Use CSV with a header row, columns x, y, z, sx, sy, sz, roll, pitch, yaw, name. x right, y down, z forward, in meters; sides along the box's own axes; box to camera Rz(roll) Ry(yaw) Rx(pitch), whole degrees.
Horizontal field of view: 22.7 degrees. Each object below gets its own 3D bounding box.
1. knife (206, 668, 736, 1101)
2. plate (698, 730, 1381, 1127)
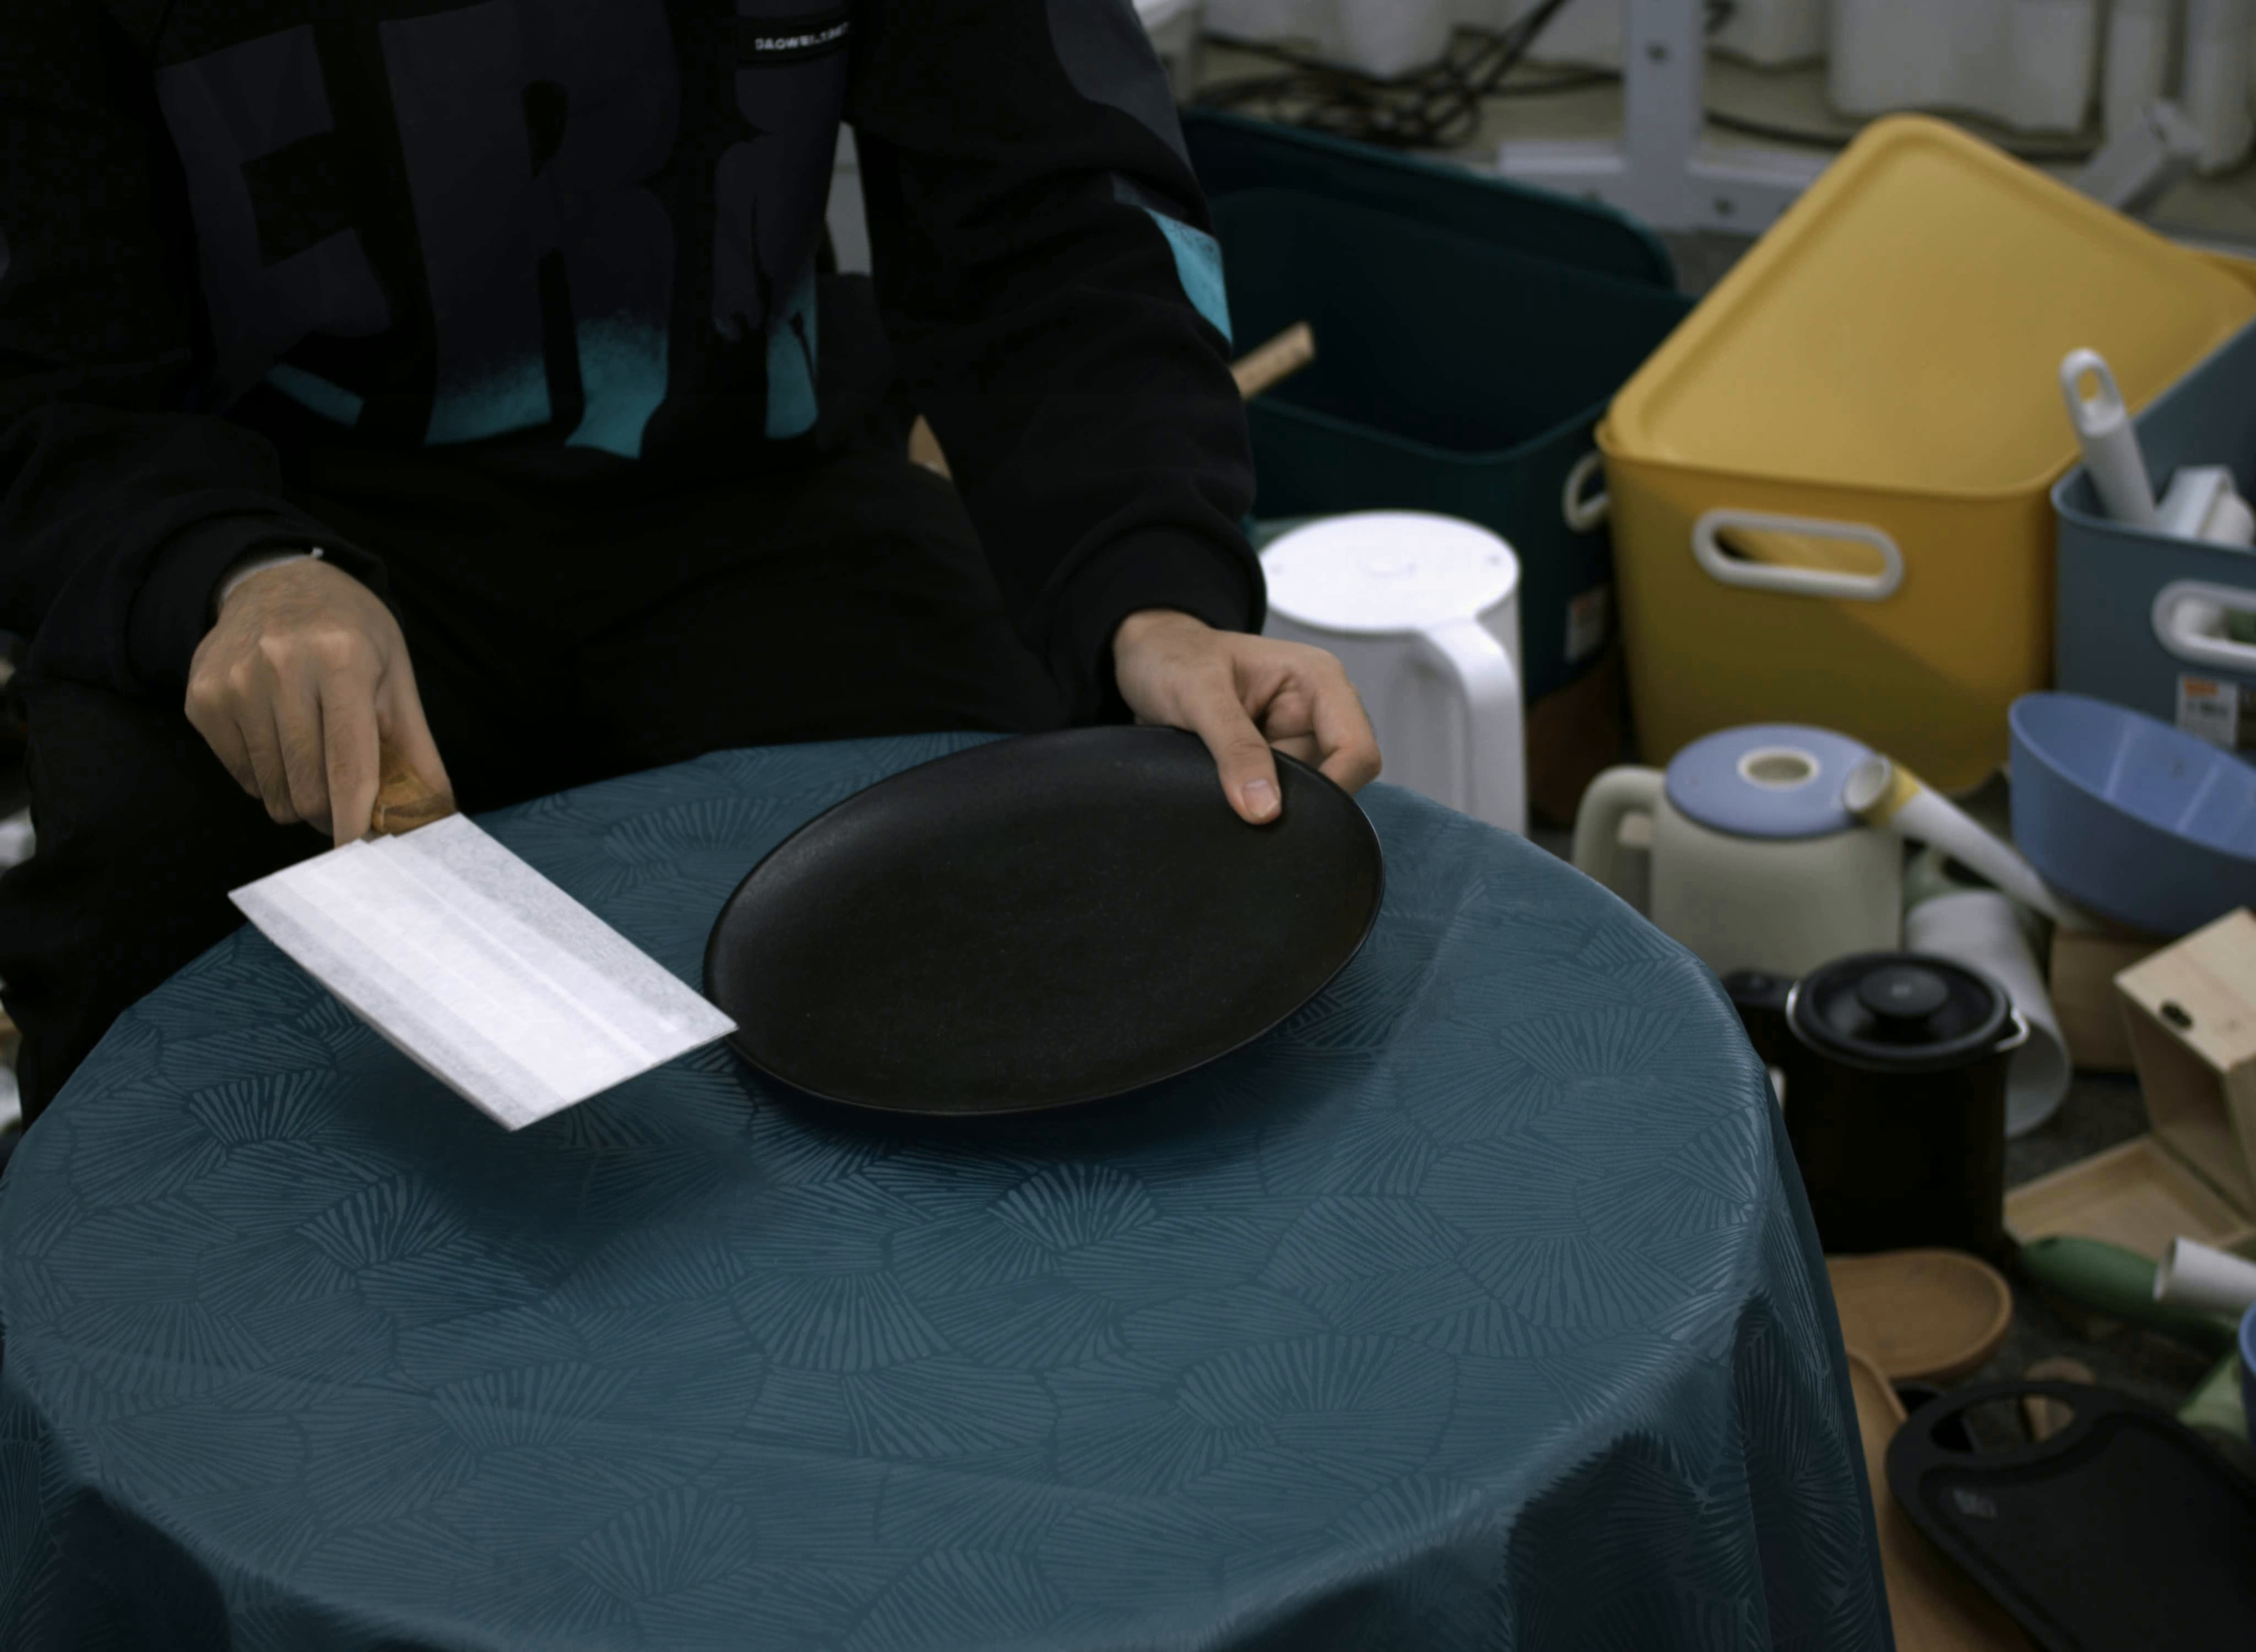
x,y,z,sx,sy,sz,roll,pitch,yaw,name
-0.253,0.021,1.942,0.094,0.021,0.306,-23,37,-30,knife
-0.030,0.040,1.973,0.243,0.023,0.248,-7,31,5,plate
